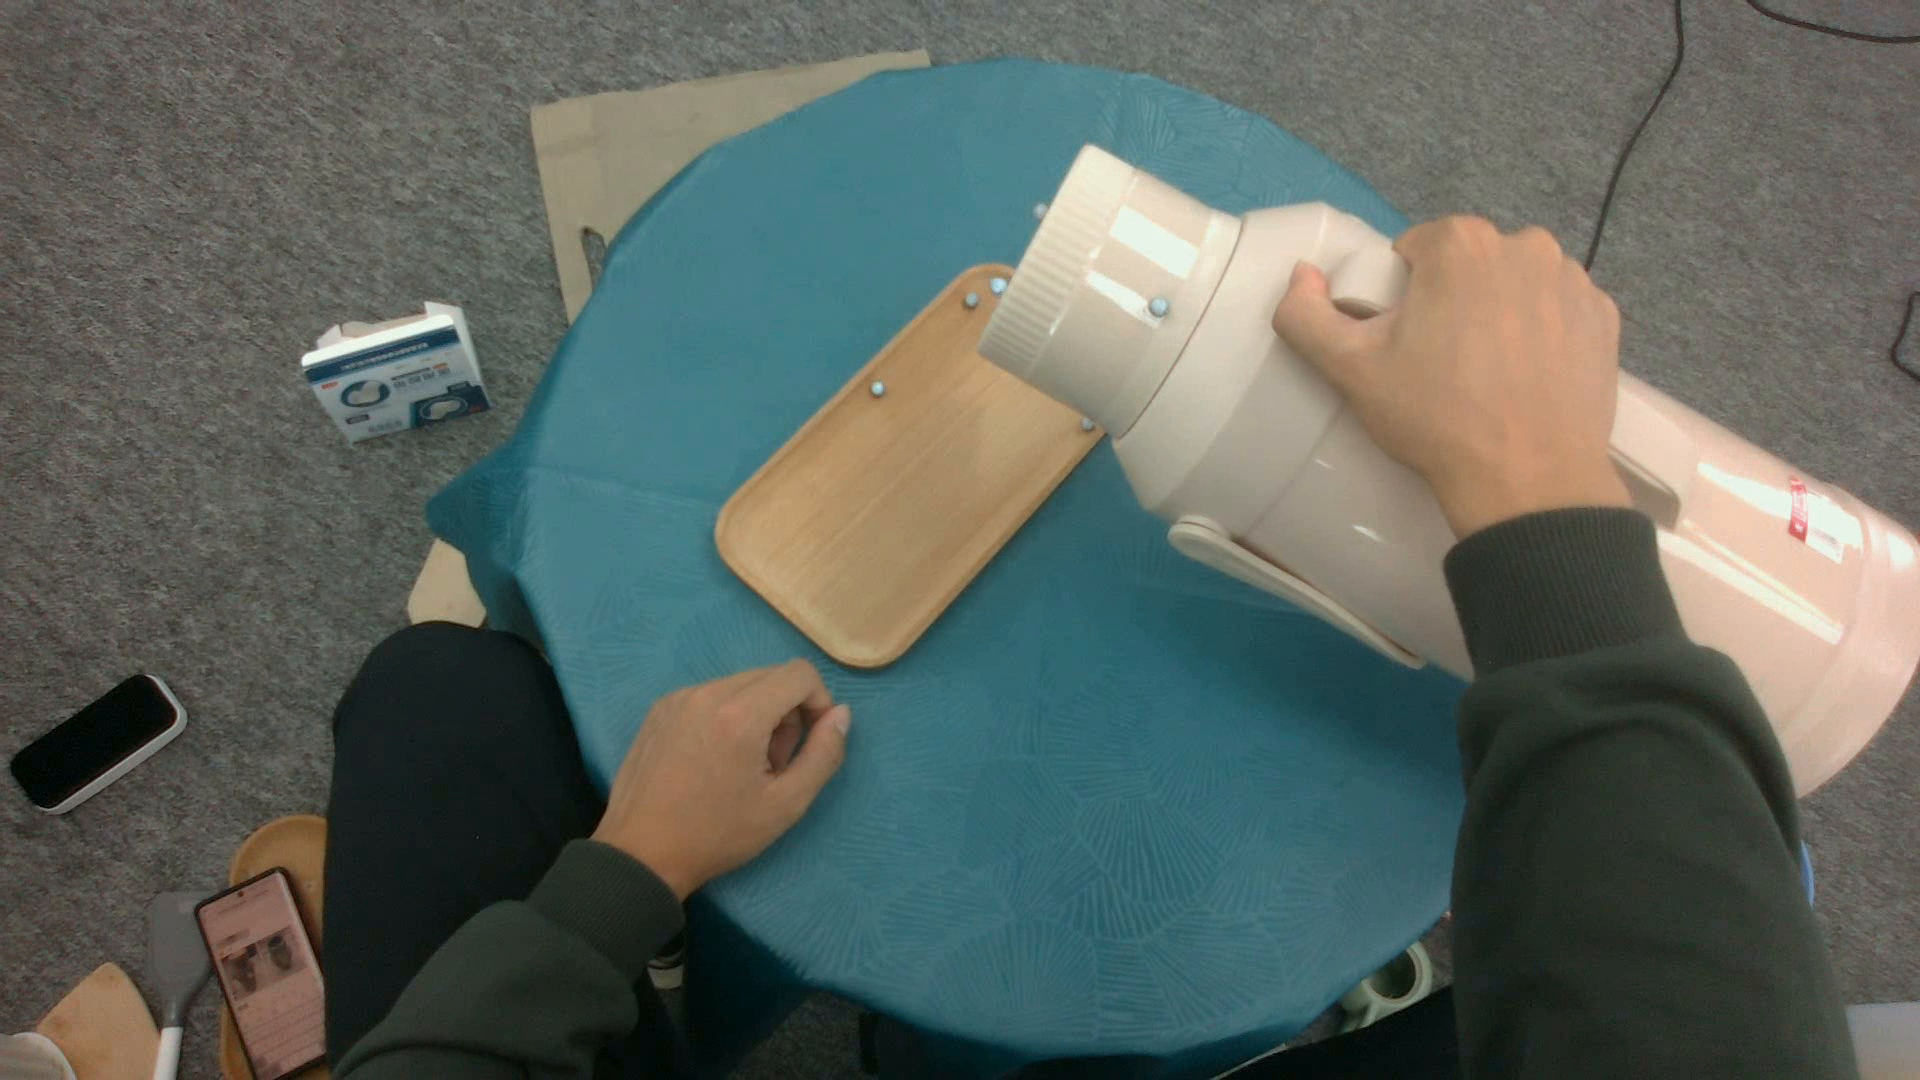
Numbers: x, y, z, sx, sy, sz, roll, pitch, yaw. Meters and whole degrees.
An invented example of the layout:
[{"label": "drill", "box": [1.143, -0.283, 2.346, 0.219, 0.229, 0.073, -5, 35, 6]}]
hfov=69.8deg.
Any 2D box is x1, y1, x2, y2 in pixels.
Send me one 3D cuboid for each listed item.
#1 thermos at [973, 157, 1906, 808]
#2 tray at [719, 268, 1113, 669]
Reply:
[{"label": "thermos", "box": [0.210, -0.037, 0.628, 0.406, 0.206, 0.176, 29, 74, -3]}, {"label": "tray", "box": [-0.015, -0.046, 0.785, 0.130, 0.023, 0.251, 40, 70, 11]}]
